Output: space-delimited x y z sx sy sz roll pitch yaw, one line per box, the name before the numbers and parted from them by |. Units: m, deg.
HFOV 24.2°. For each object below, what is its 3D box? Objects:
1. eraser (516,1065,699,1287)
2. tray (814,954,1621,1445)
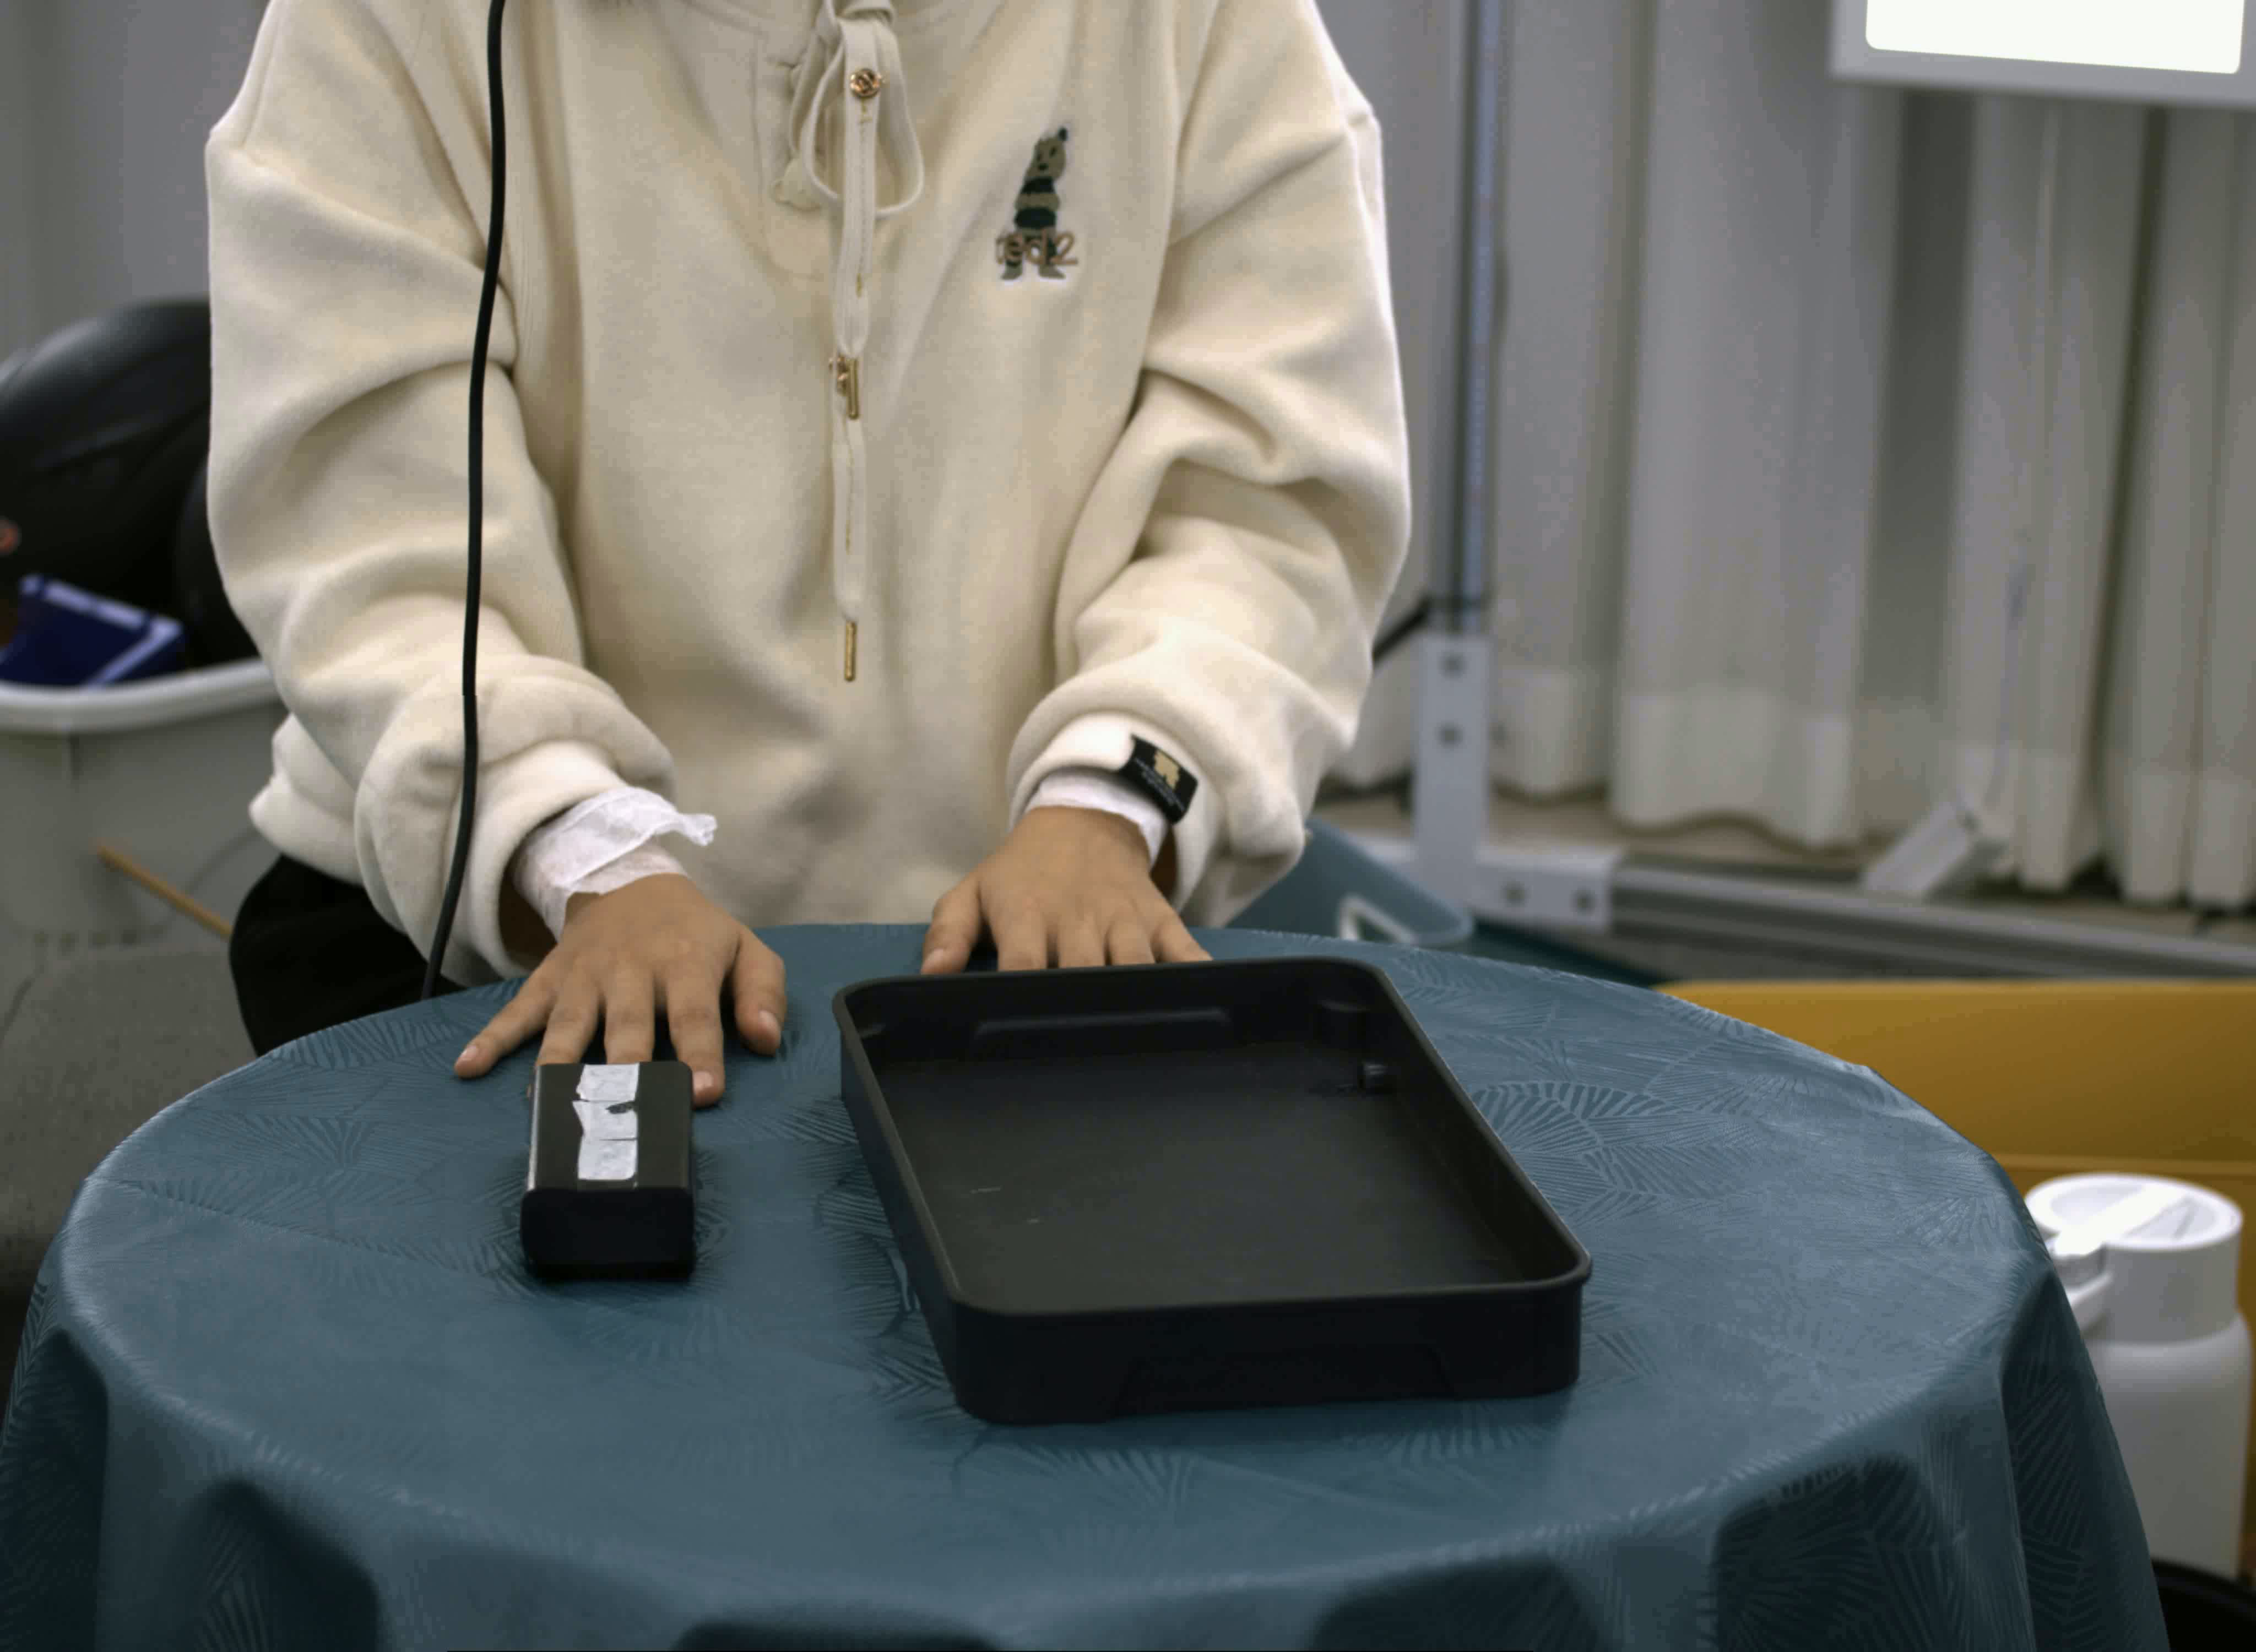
eraser | -0.157 0.105 1.592 0.053 0.030 0.124 3 15 -6
tray | 0.018 0.105 1.577 0.184 0.037 0.315 -3 16 -12
